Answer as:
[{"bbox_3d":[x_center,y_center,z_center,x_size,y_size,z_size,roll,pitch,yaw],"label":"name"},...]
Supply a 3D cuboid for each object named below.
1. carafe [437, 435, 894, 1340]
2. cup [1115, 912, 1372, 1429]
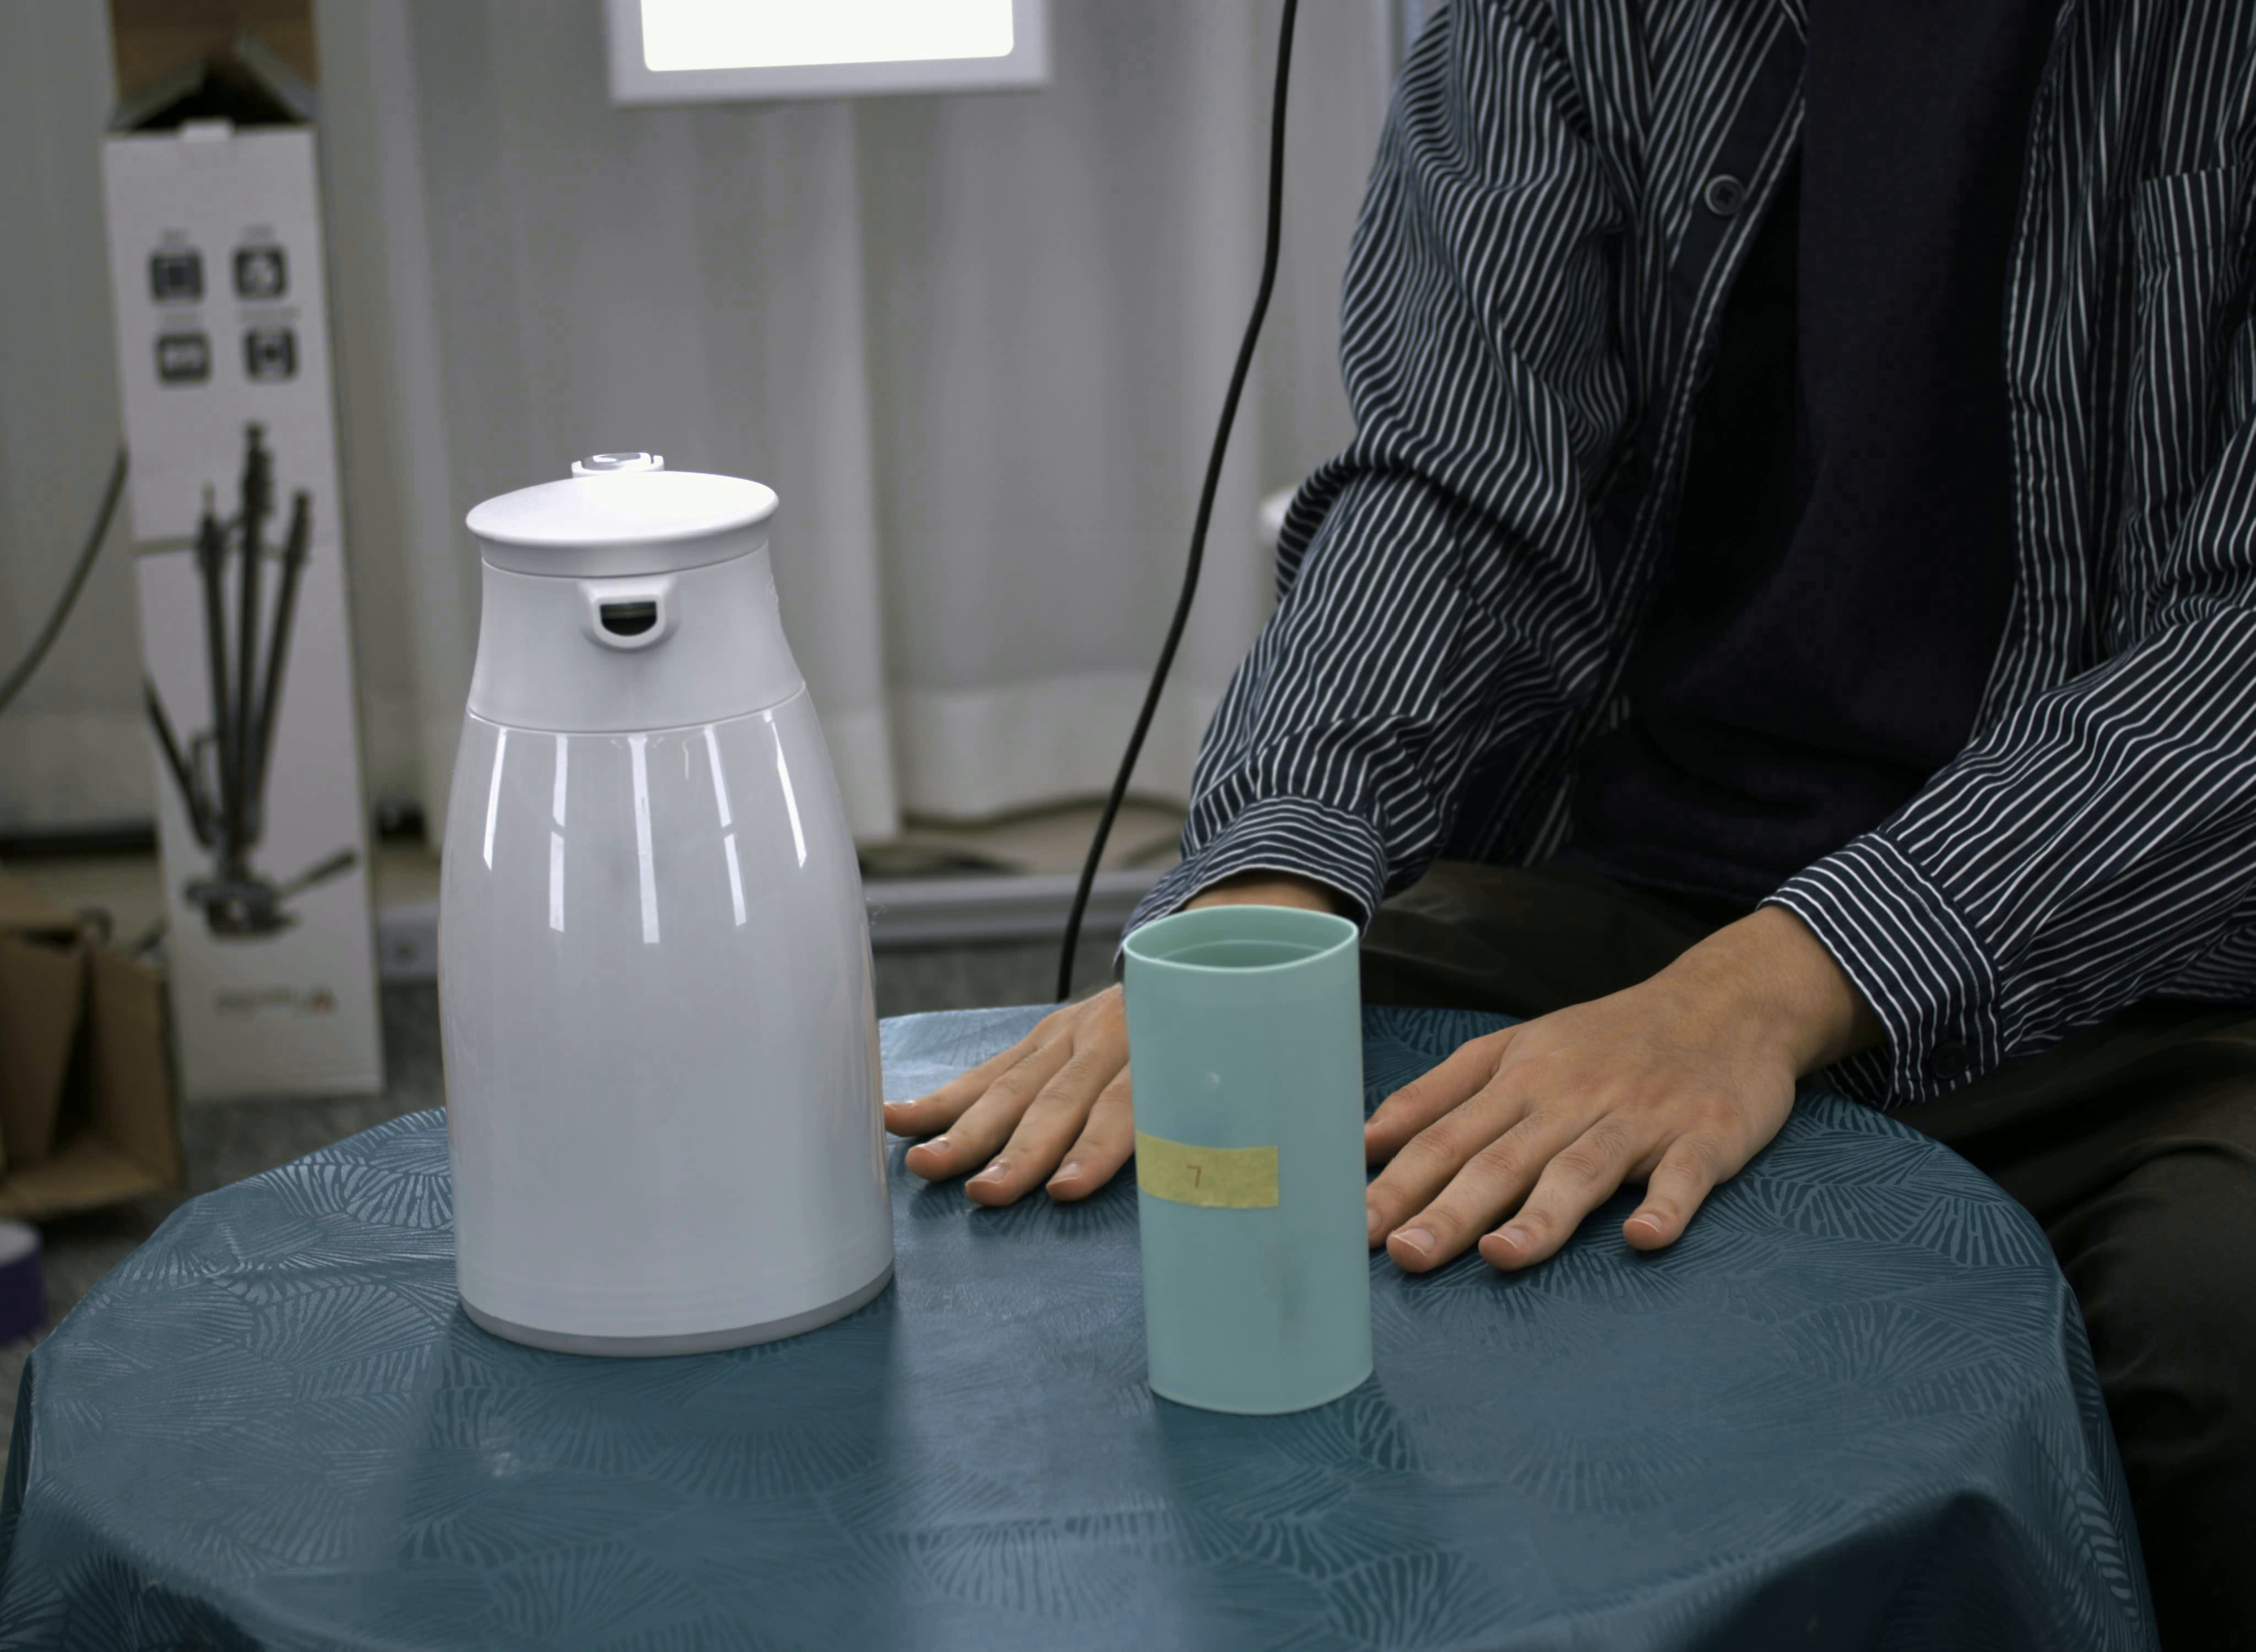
[{"bbox_3d":[-0.146,0.010,1.644,0.132,0.248,0.169,-5,13,-8],"label":"carafe"},{"bbox_3d":[0.034,0.096,1.536,0.066,0.132,0.067,-4,15,1],"label":"cup"}]
